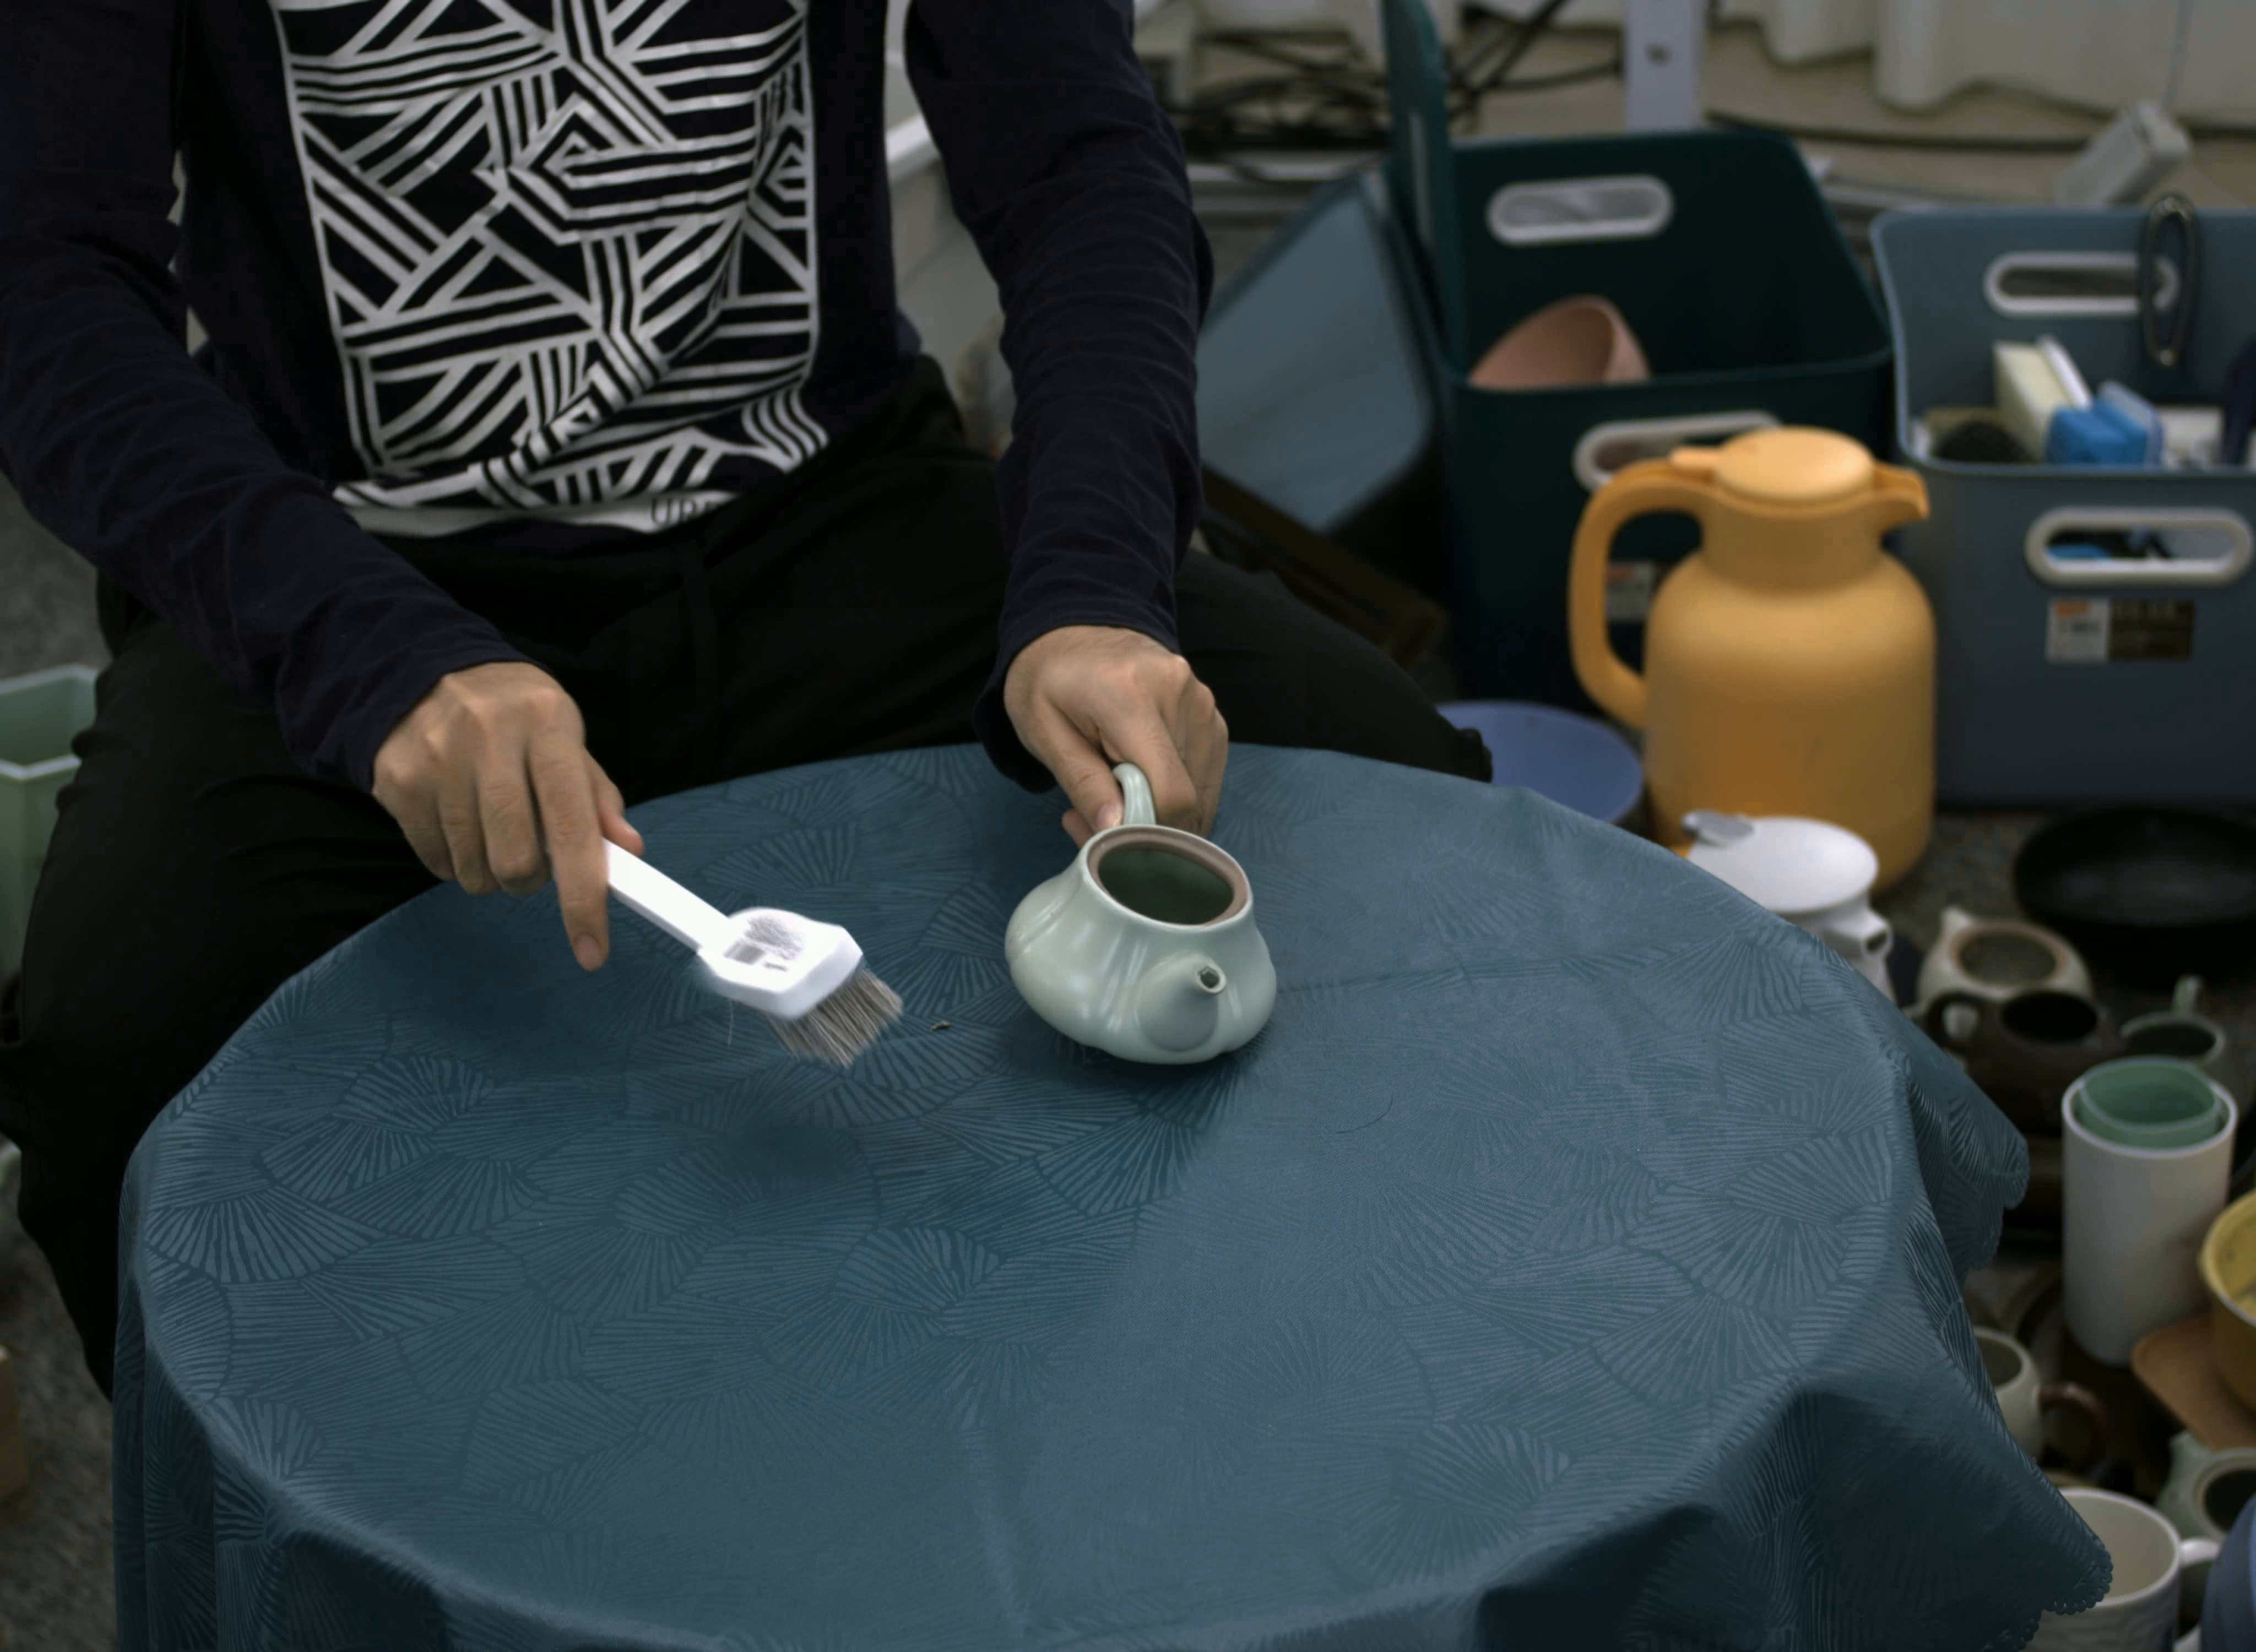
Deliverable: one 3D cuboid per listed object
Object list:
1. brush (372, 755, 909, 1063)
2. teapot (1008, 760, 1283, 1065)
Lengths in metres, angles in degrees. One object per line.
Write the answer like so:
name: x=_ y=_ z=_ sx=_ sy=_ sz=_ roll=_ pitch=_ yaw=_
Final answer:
brush: x=-0.169 y=0.029 z=1.927 sx=0.243 sy=0.049 sz=0.035 roll=22 pitch=61 yaw=39
teapot: x=0.008 y=0.035 z=1.944 sx=0.096 sy=0.060 sz=0.139 roll=0 pitch=37 yaw=-19
